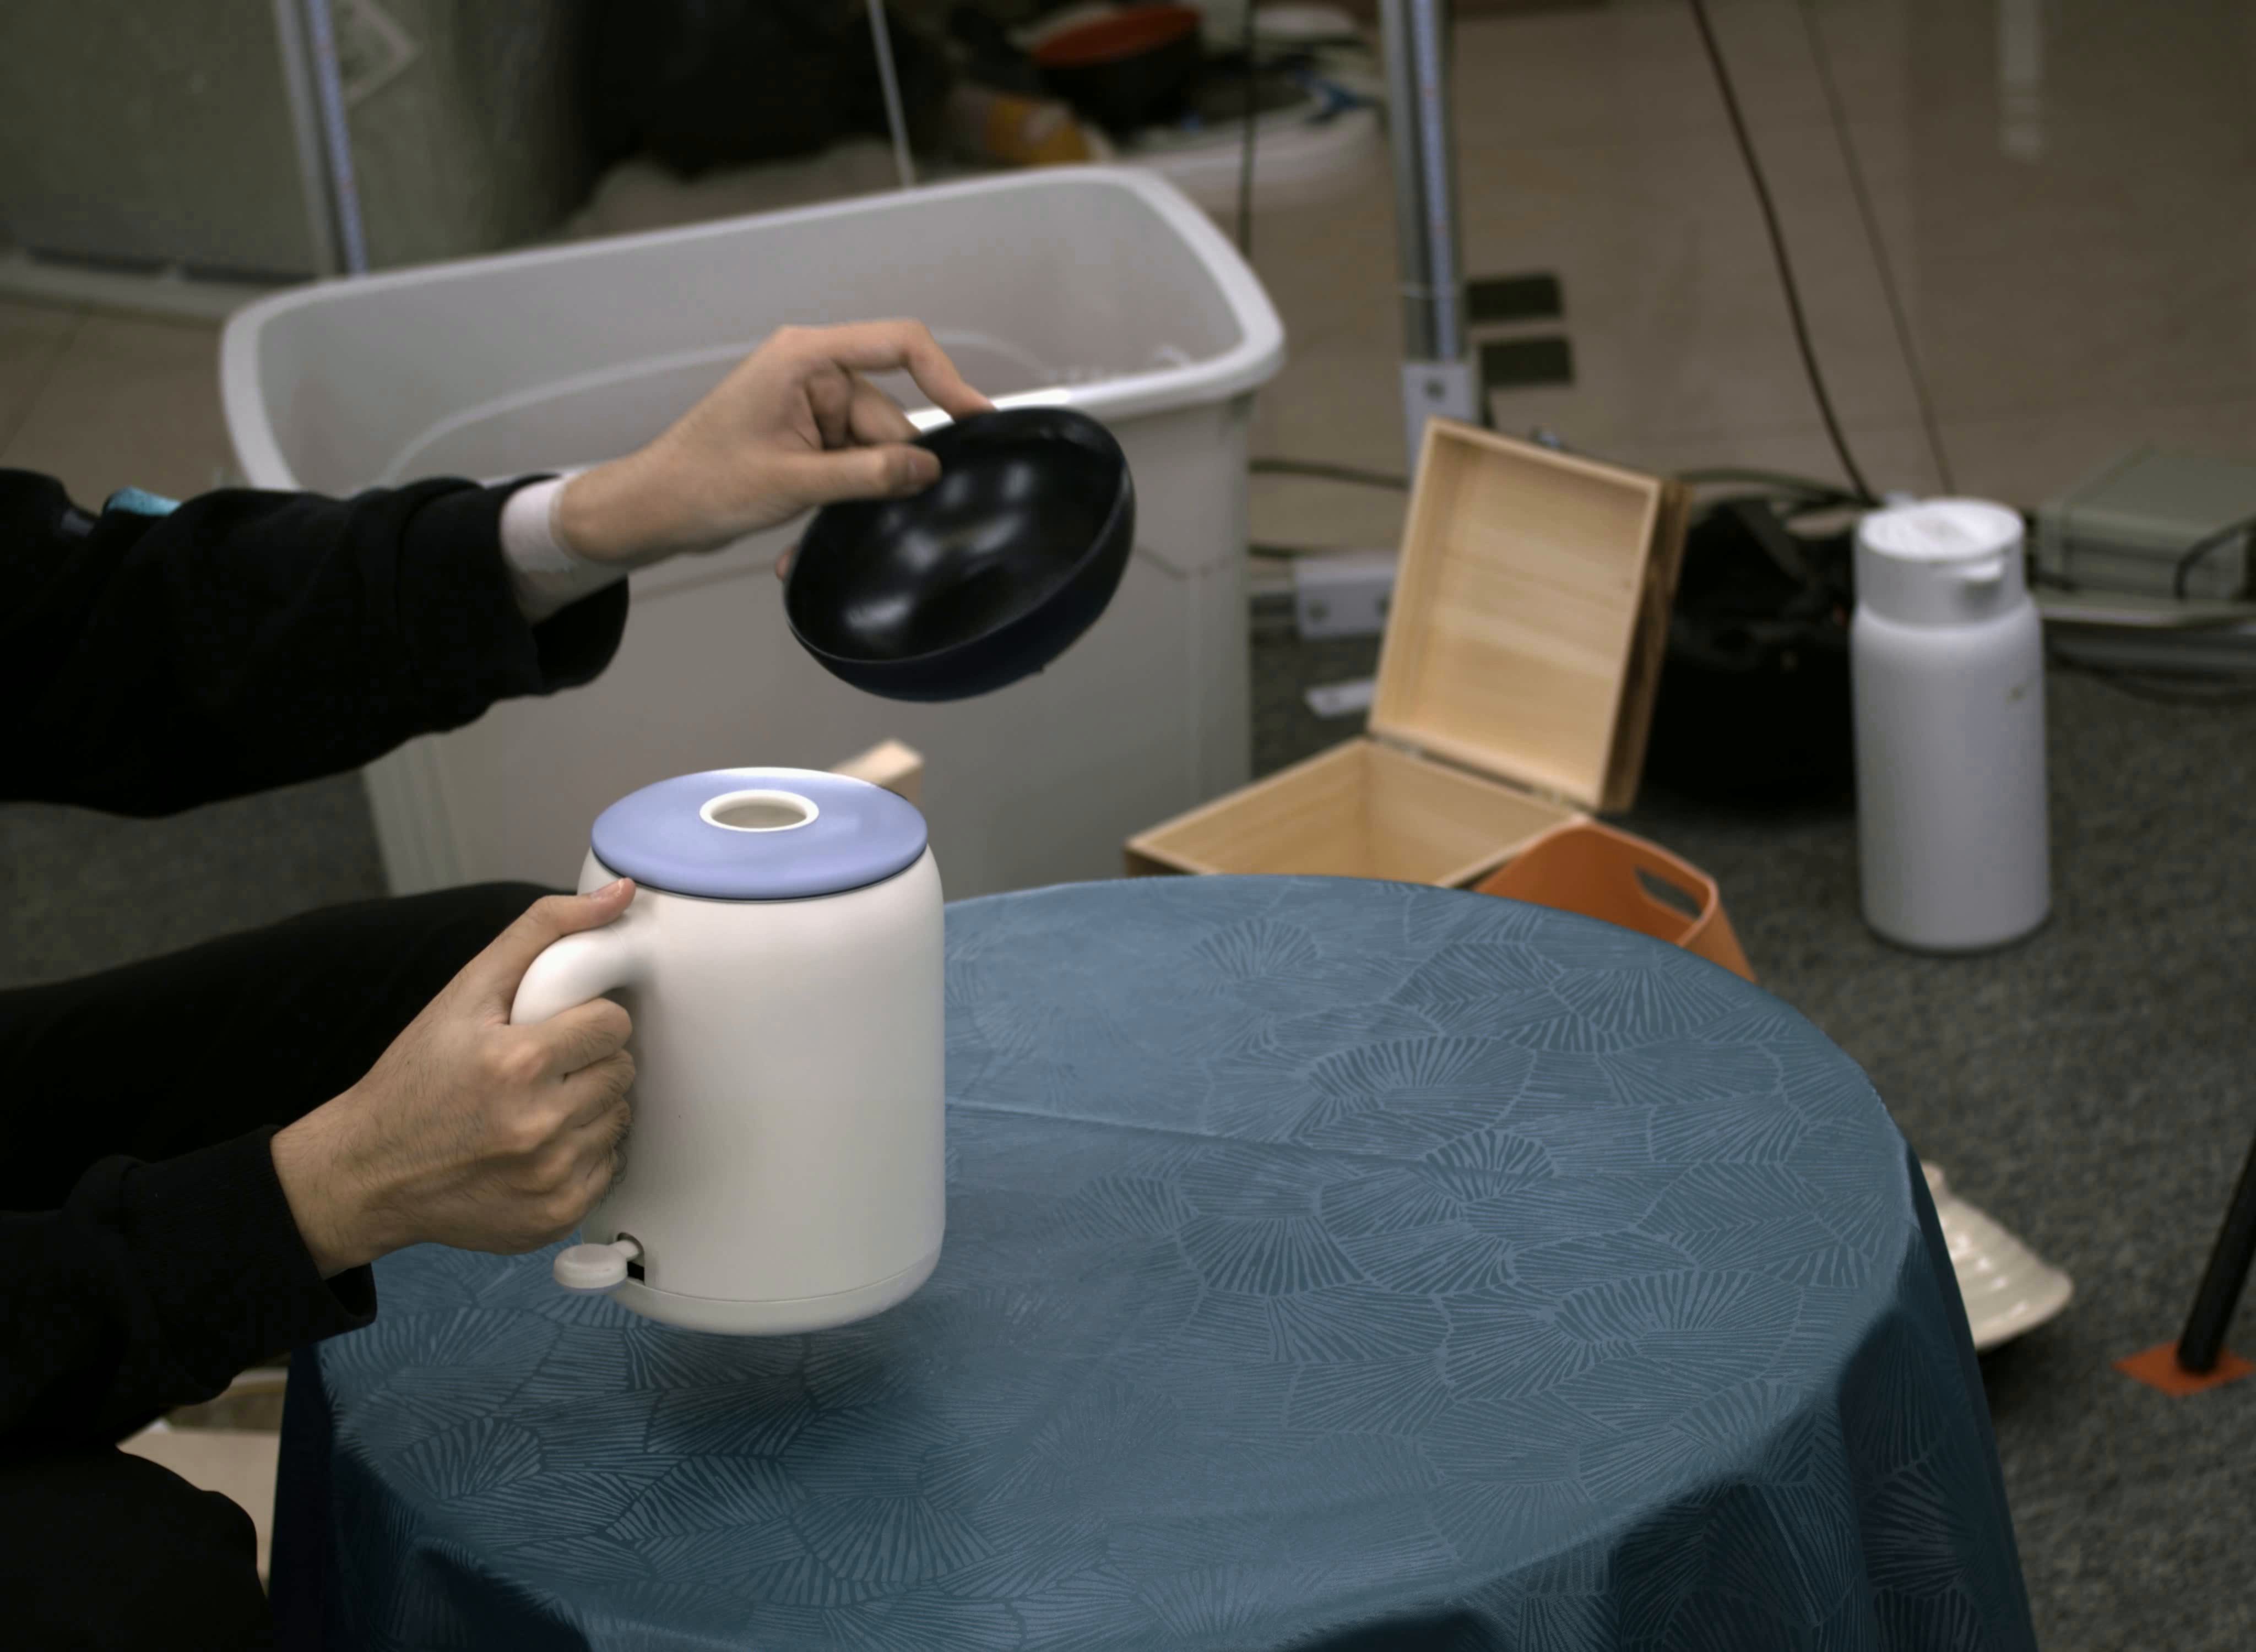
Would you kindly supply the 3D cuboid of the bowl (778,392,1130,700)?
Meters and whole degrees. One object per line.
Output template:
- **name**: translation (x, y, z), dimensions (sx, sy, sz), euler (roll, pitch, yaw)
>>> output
- **bowl**: translation (-0.056, -0.094, 2.065), dimensions (0.140, 0.050, 0.137), euler (-20, 41, 18)

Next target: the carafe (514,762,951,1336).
- **carafe**: translation (-0.146, 0.085, 1.996), dimensions (0.131, 0.185, 0.189), euler (18, 29, 38)
